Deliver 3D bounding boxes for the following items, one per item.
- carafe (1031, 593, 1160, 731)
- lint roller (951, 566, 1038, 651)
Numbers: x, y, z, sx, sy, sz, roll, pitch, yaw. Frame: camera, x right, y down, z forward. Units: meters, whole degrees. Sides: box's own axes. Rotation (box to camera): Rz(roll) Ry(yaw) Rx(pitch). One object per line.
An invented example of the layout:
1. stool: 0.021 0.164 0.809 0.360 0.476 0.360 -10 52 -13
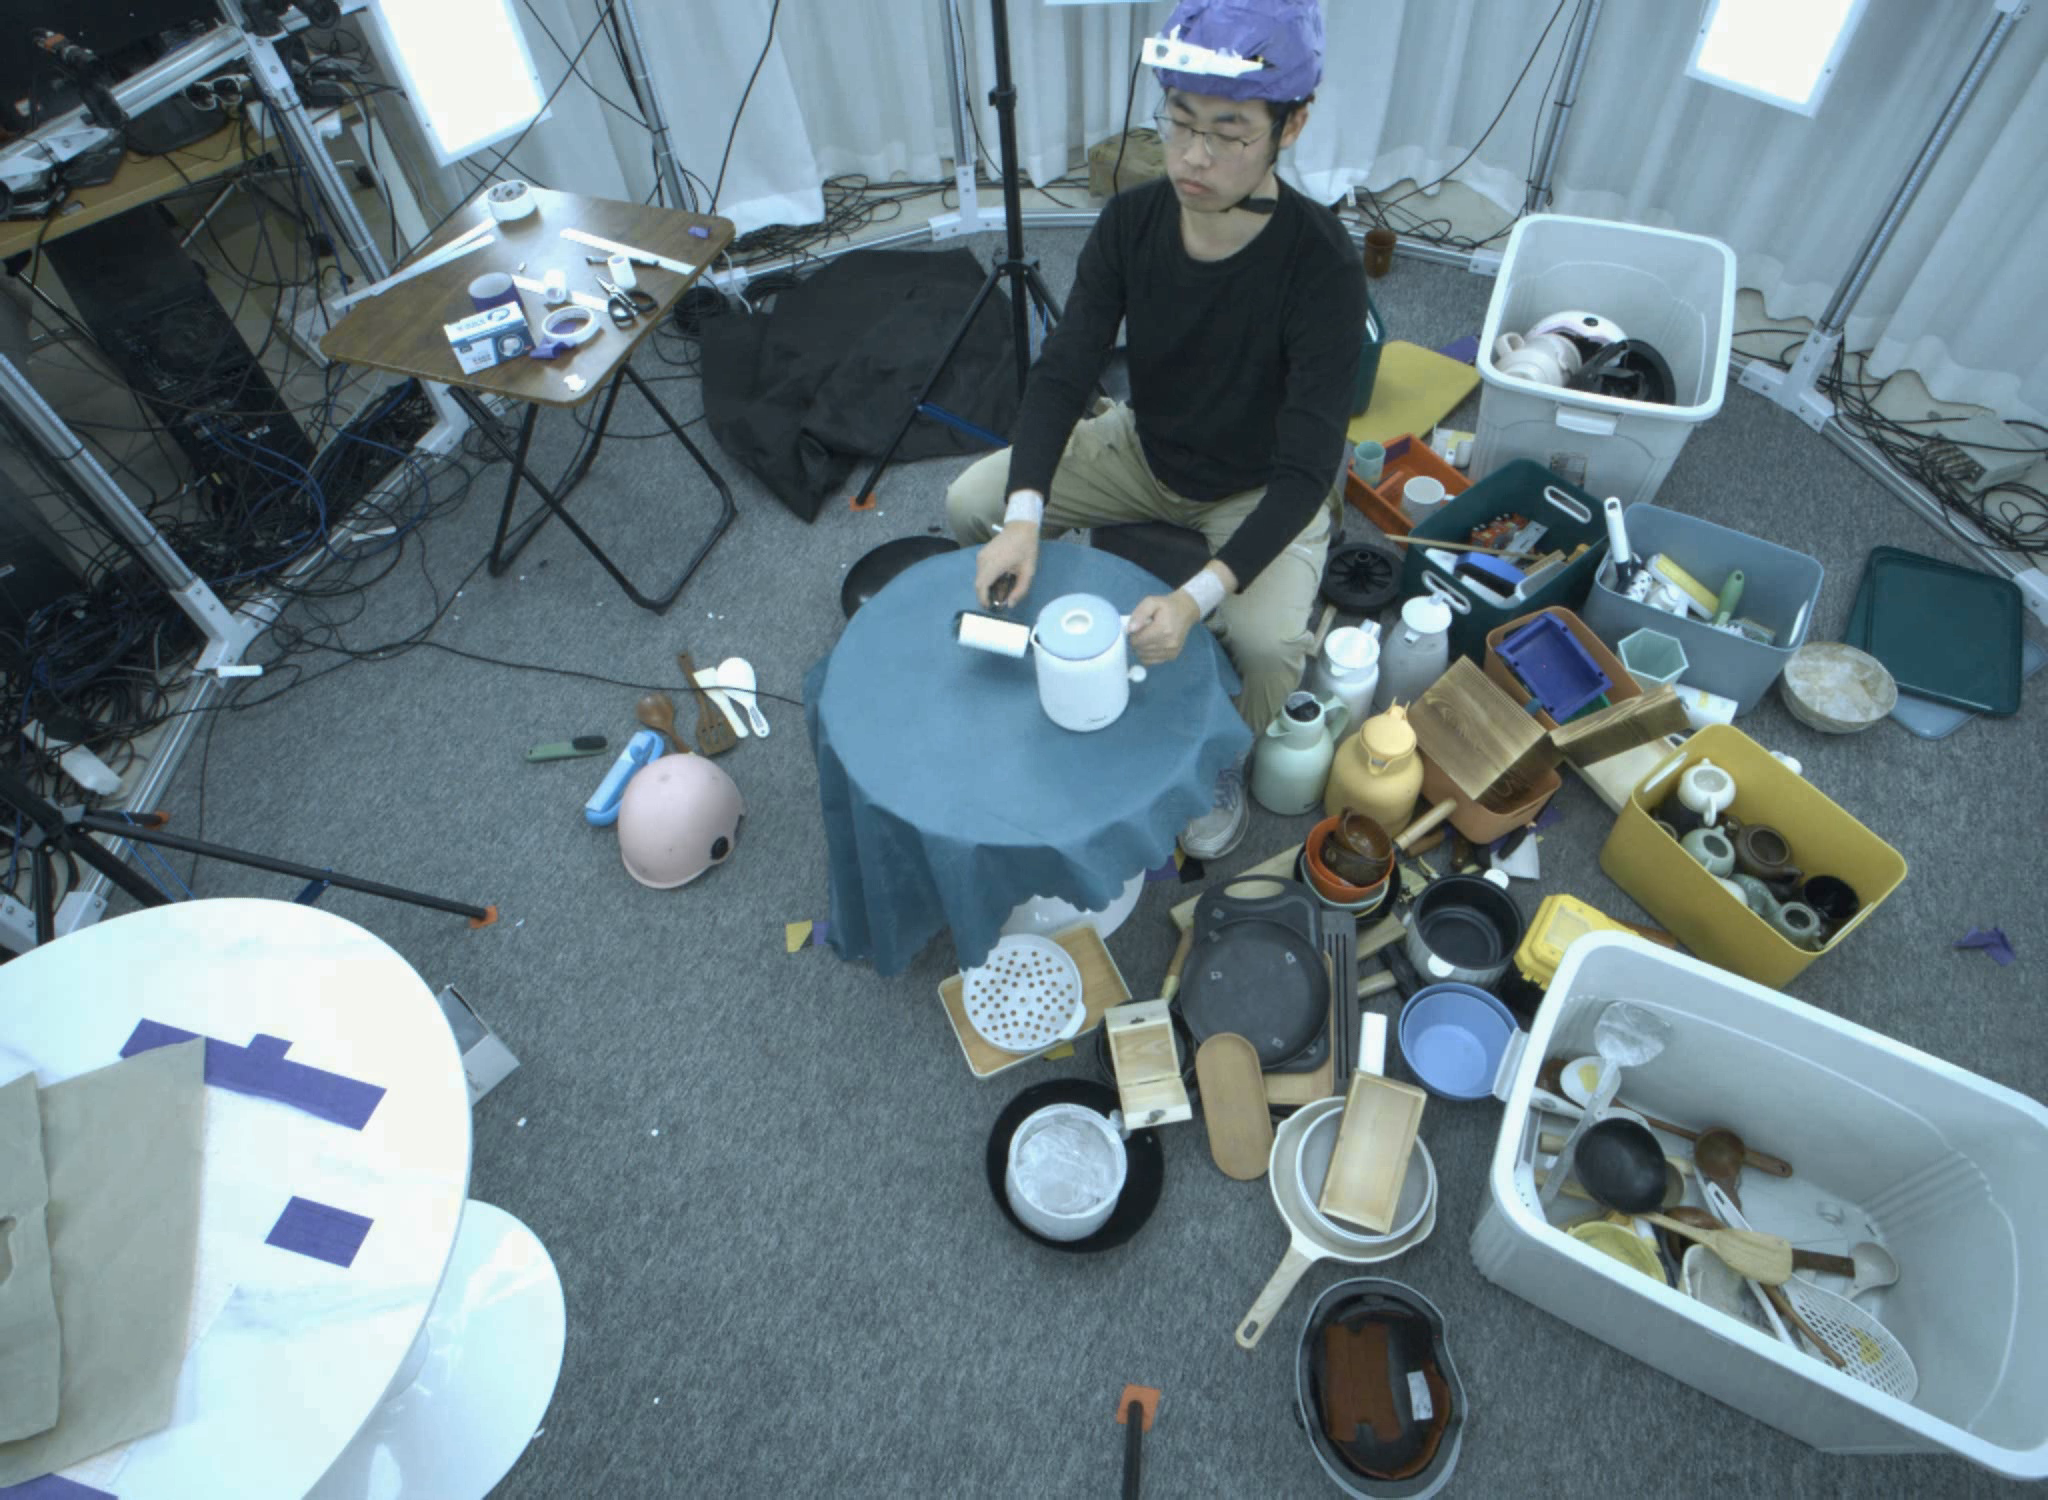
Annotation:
1. carafe: 0.106 -0.132 1.768 0.192 0.184 0.130 -15 57 -7
2. lint roller: -0.035 -0.229 1.863 0.134 0.048 0.178 8 54 -2
